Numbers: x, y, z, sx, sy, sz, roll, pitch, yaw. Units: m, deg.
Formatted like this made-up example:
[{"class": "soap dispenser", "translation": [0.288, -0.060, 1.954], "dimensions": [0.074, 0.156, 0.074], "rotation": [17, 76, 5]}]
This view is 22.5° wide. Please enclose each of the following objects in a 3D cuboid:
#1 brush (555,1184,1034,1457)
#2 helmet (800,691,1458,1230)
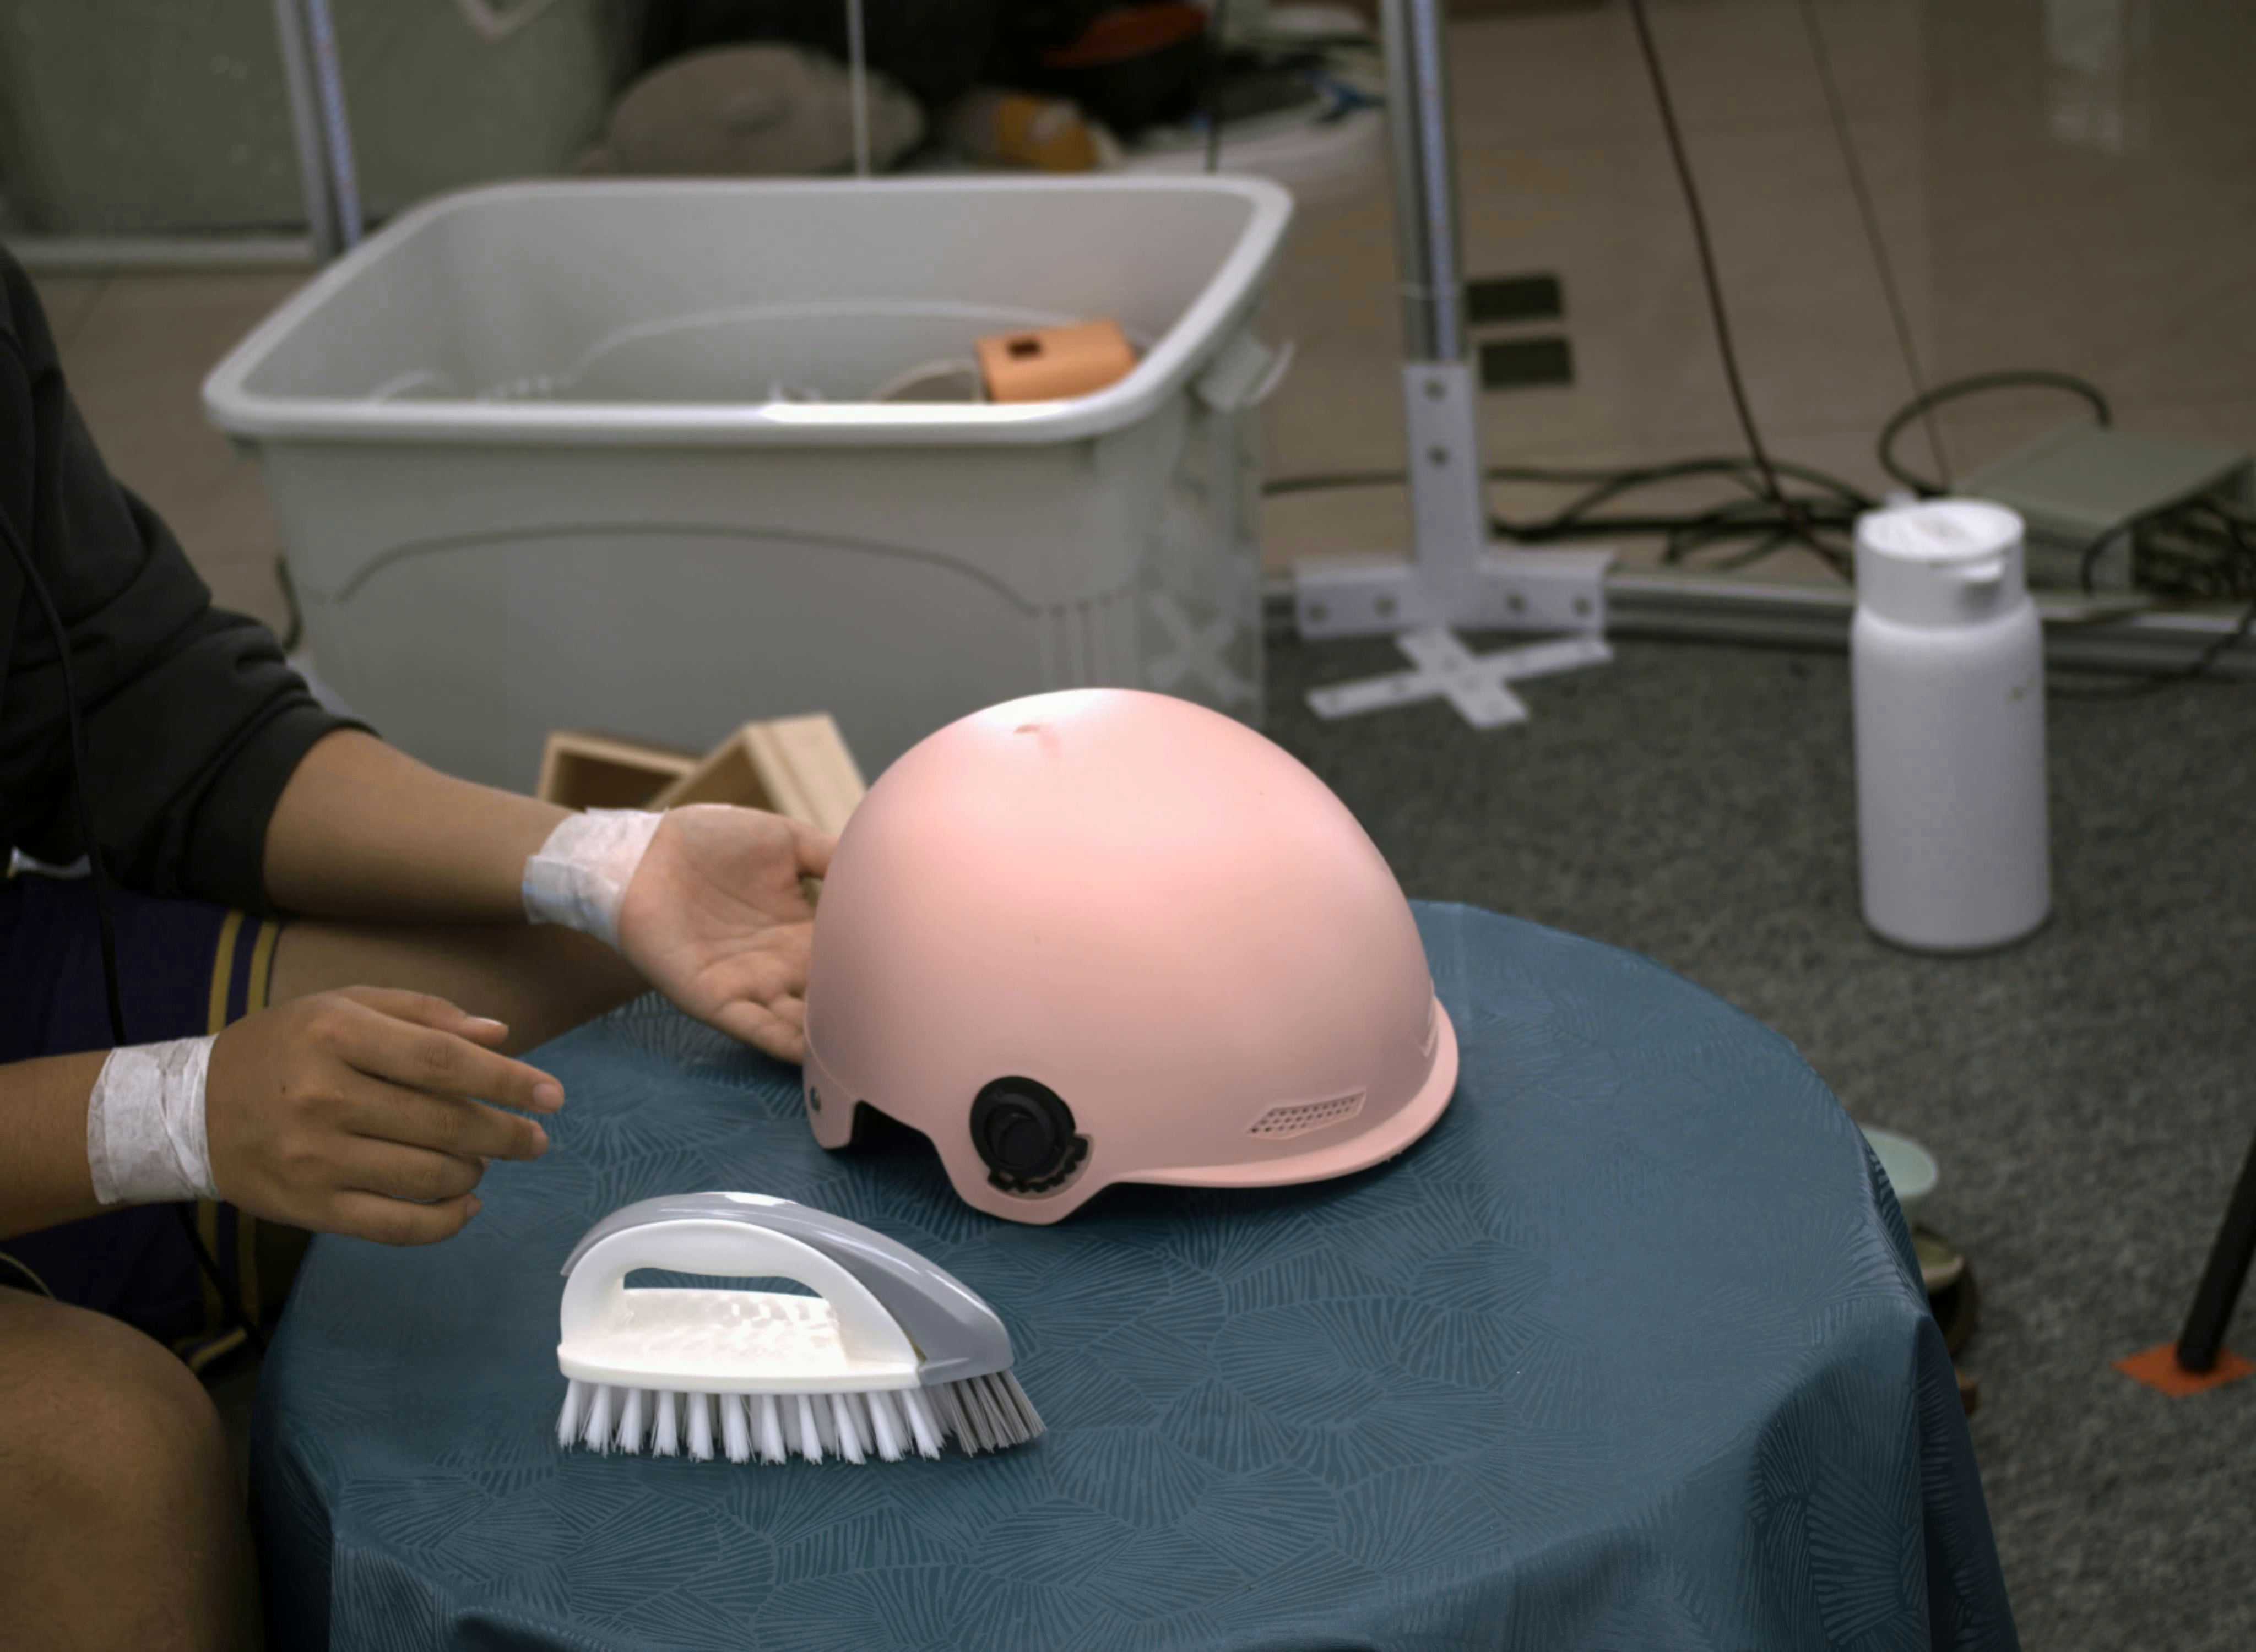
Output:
[{"class": "brush", "translation": [-0.120, 0.171, 1.998], "dimensions": [0.175, 0.096, 0.060], "rotation": [4, 28, 17]}, {"class": "helmet", "translation": [-0.002, 0.036, 2.187], "dimensions": [0.264, 0.161, 0.231], "rotation": [15, 32, 30]}]
